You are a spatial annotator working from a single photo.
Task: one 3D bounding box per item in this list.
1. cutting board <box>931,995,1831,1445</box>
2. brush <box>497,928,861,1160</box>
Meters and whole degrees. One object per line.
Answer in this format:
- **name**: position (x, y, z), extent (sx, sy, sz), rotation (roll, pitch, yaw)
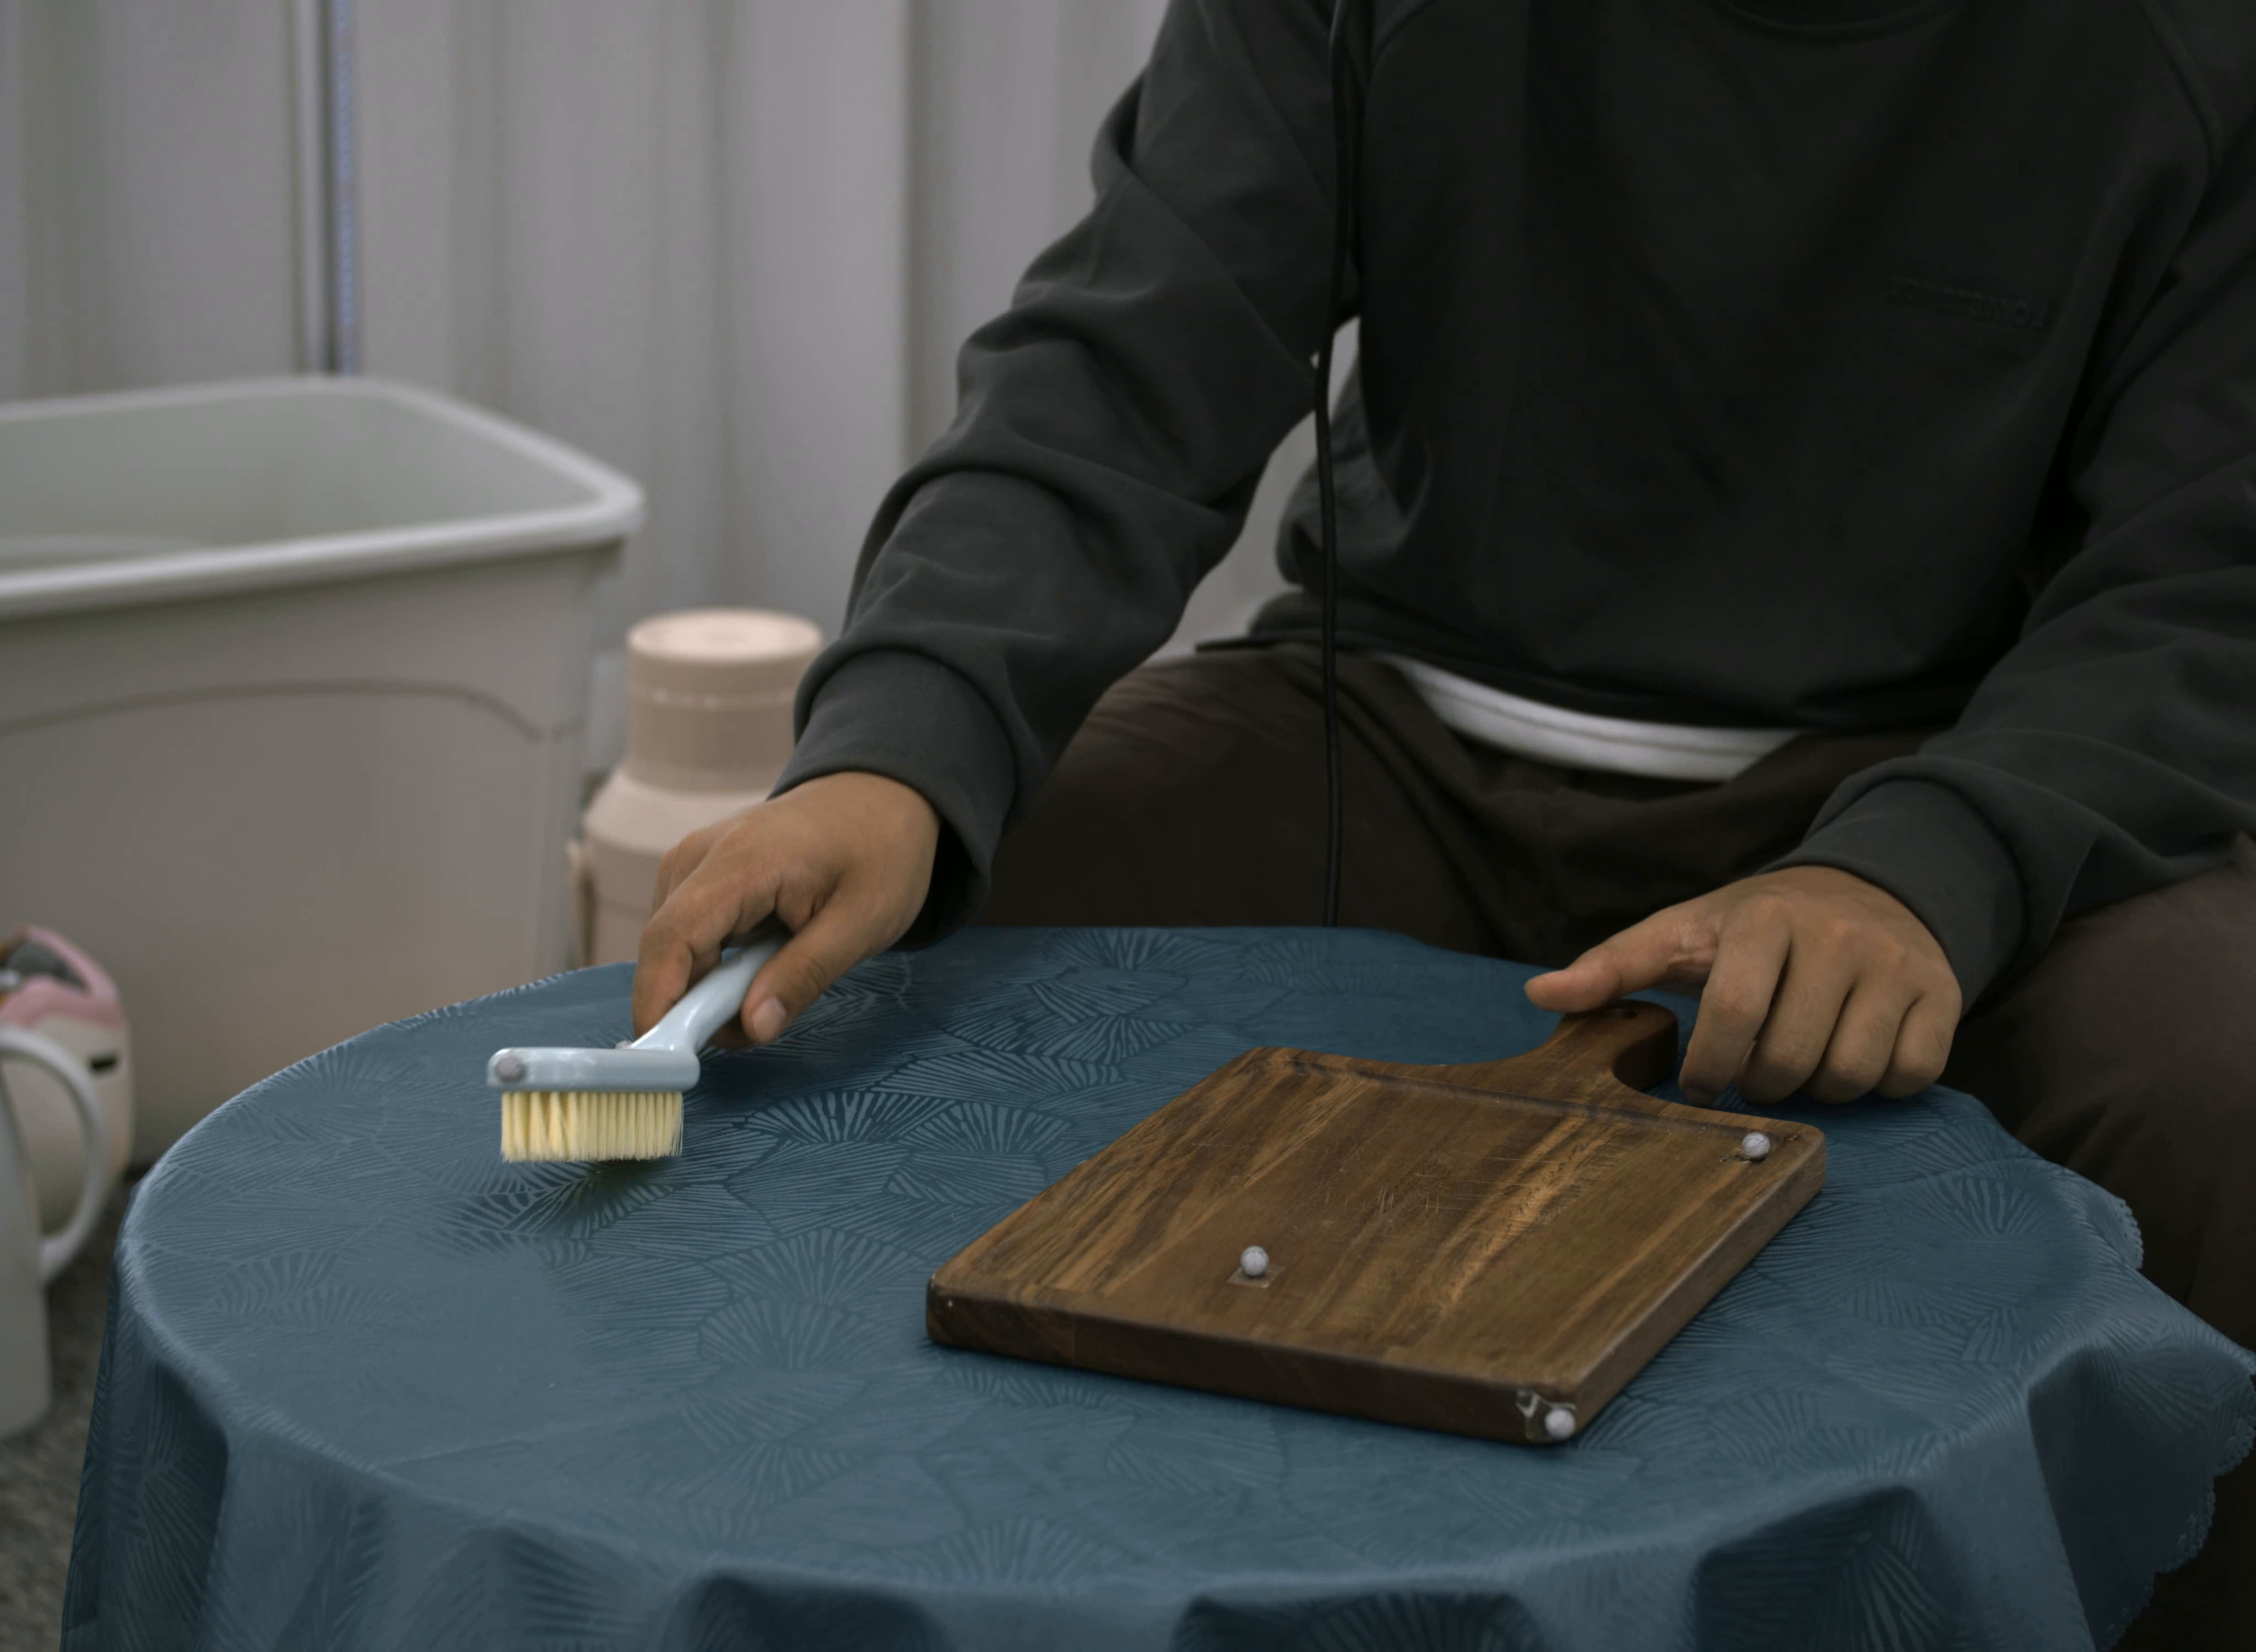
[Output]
- **cutting board**: position (0.101, 0.108, 1.609), extent (0.199, 0.023, 0.353), rotation (8, 17, 23)
- **brush**: position (-0.139, 0.072, 1.687), extent (0.037, 0.050, 0.229), rotation (-1, 10, 20)
